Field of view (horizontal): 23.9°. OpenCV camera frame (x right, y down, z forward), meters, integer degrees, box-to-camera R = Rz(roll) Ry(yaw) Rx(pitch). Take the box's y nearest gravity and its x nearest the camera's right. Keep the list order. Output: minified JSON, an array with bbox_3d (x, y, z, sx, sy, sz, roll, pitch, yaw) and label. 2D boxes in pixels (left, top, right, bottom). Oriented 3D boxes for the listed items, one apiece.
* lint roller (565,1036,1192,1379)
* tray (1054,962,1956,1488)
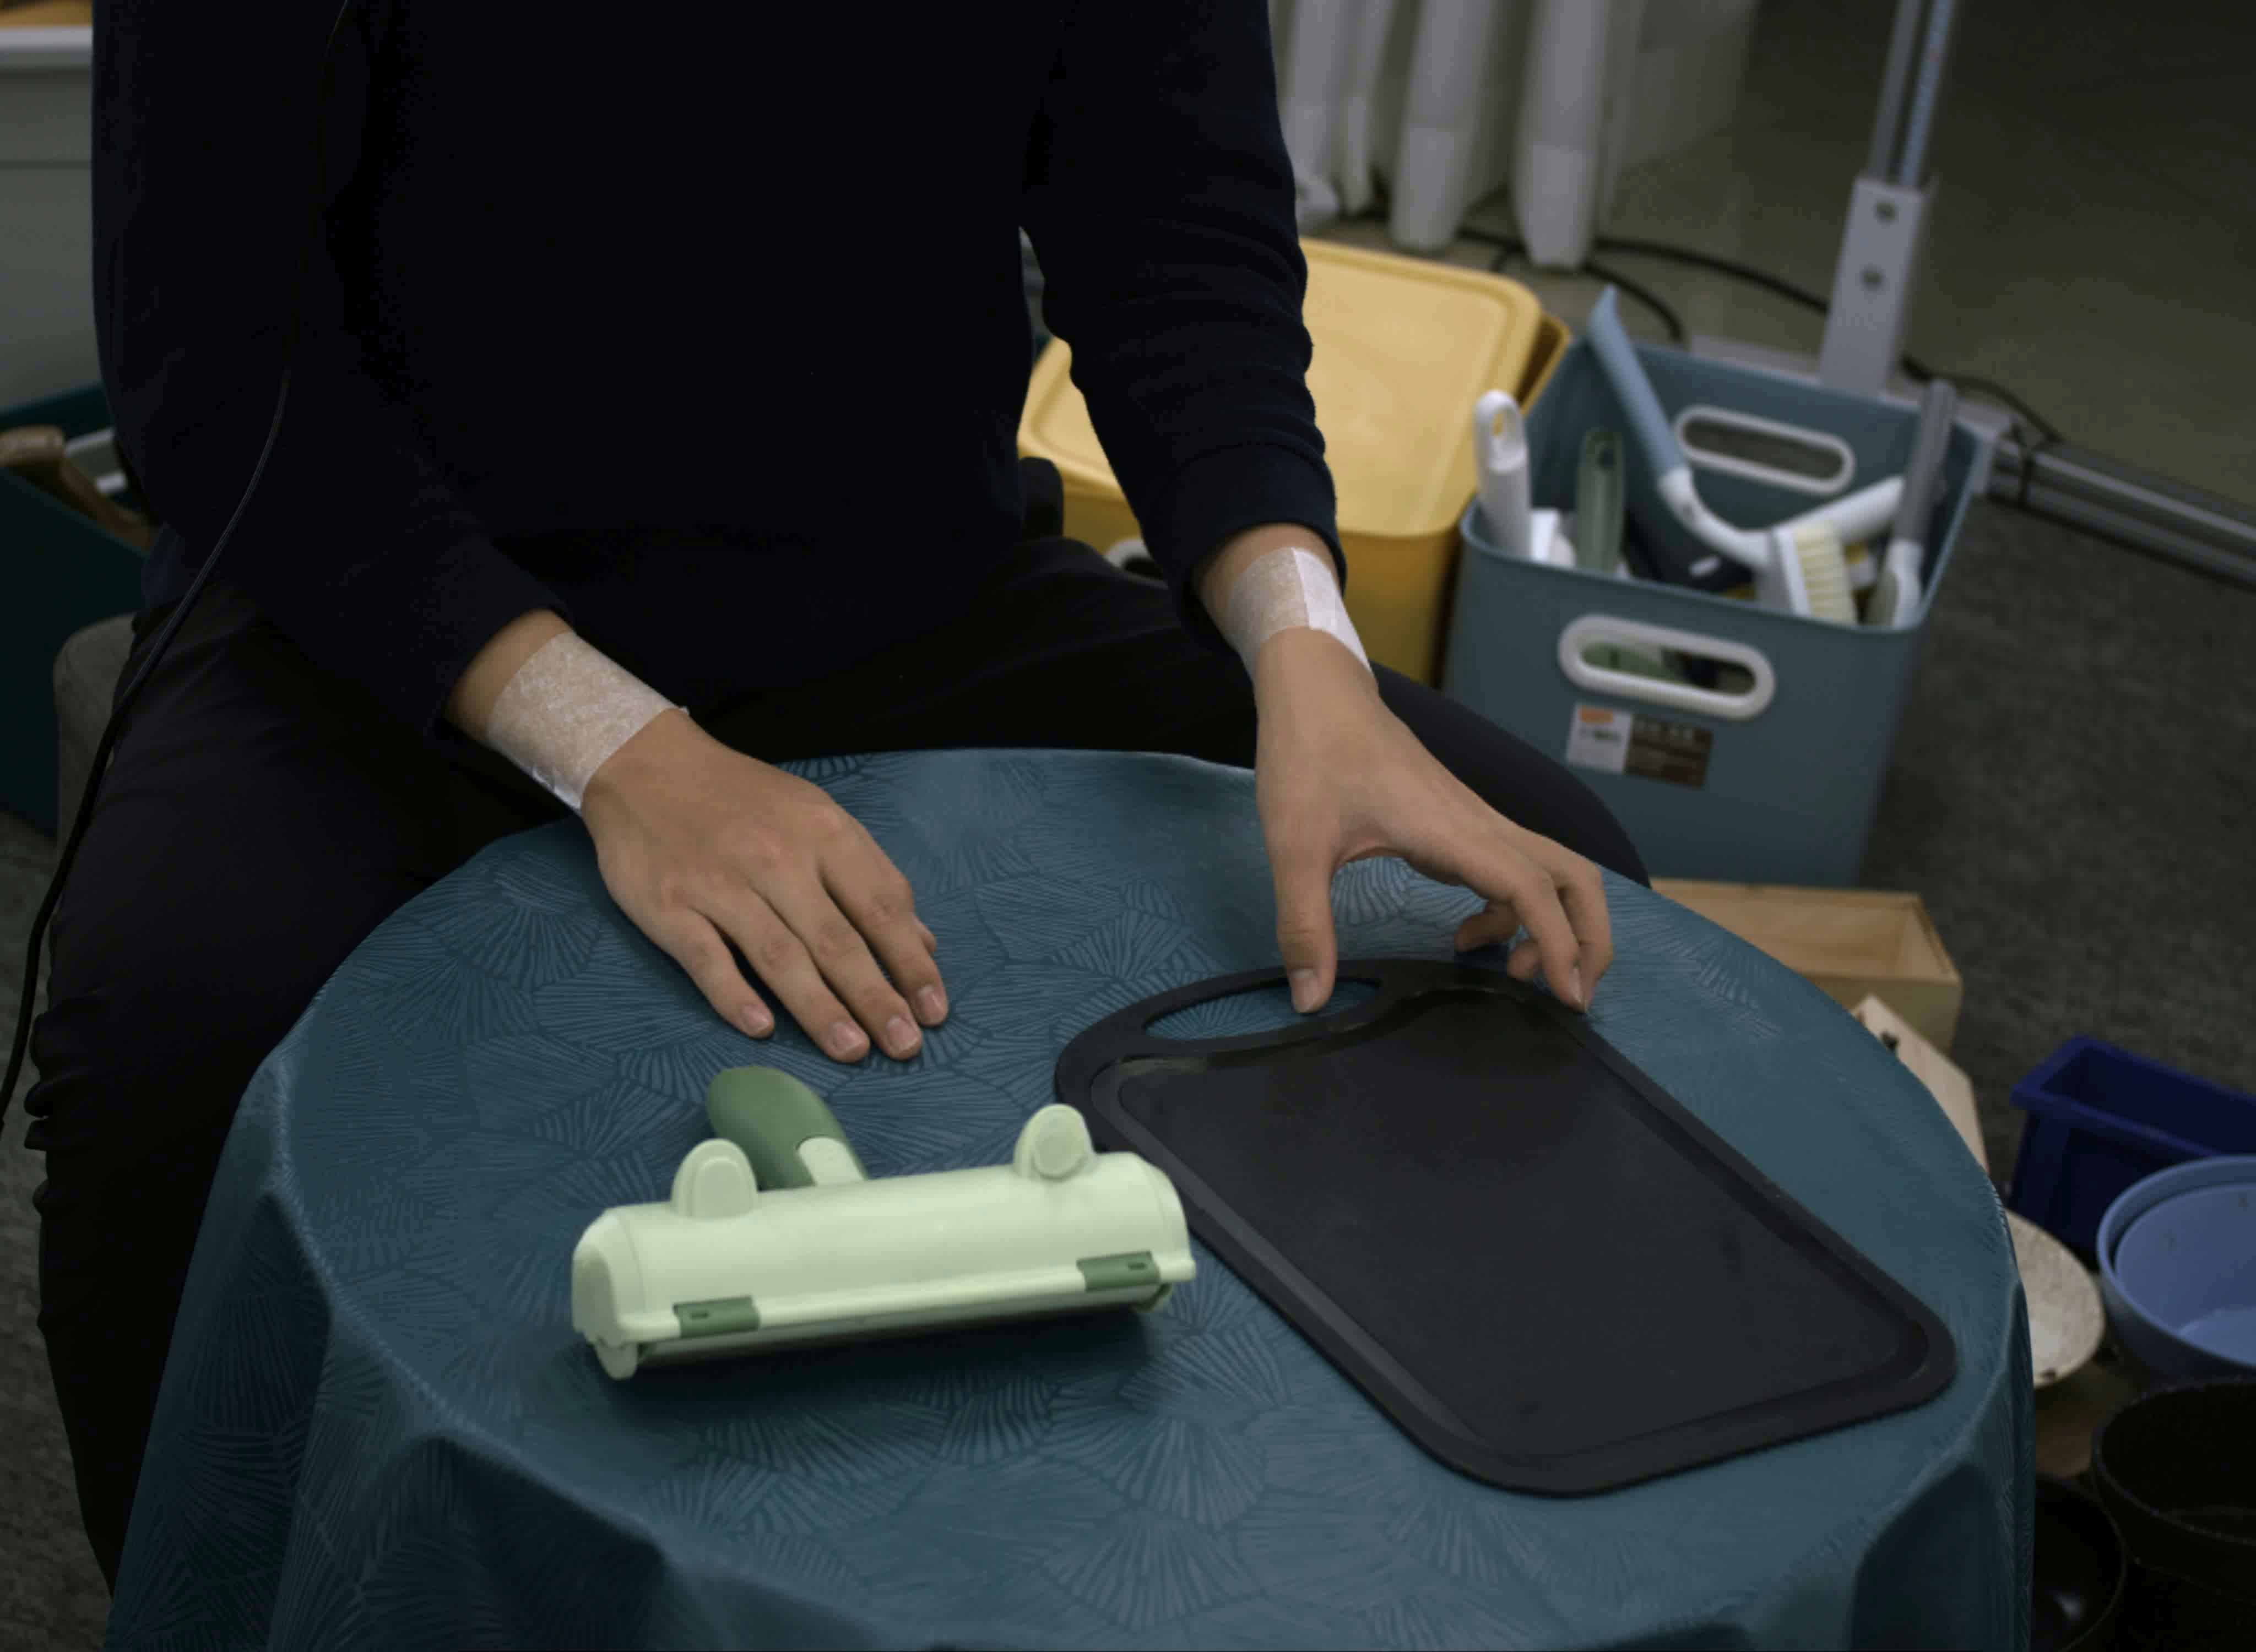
[{"bbox_3d":[-0.099,0.101,1.730,0.197,0.082,0.185,-5,35,-23],"label":"lint roller"},{"bbox_3d":[0.119,0.126,1.818,0.210,0.010,0.328,-10,31,-30],"label":"tray"}]
